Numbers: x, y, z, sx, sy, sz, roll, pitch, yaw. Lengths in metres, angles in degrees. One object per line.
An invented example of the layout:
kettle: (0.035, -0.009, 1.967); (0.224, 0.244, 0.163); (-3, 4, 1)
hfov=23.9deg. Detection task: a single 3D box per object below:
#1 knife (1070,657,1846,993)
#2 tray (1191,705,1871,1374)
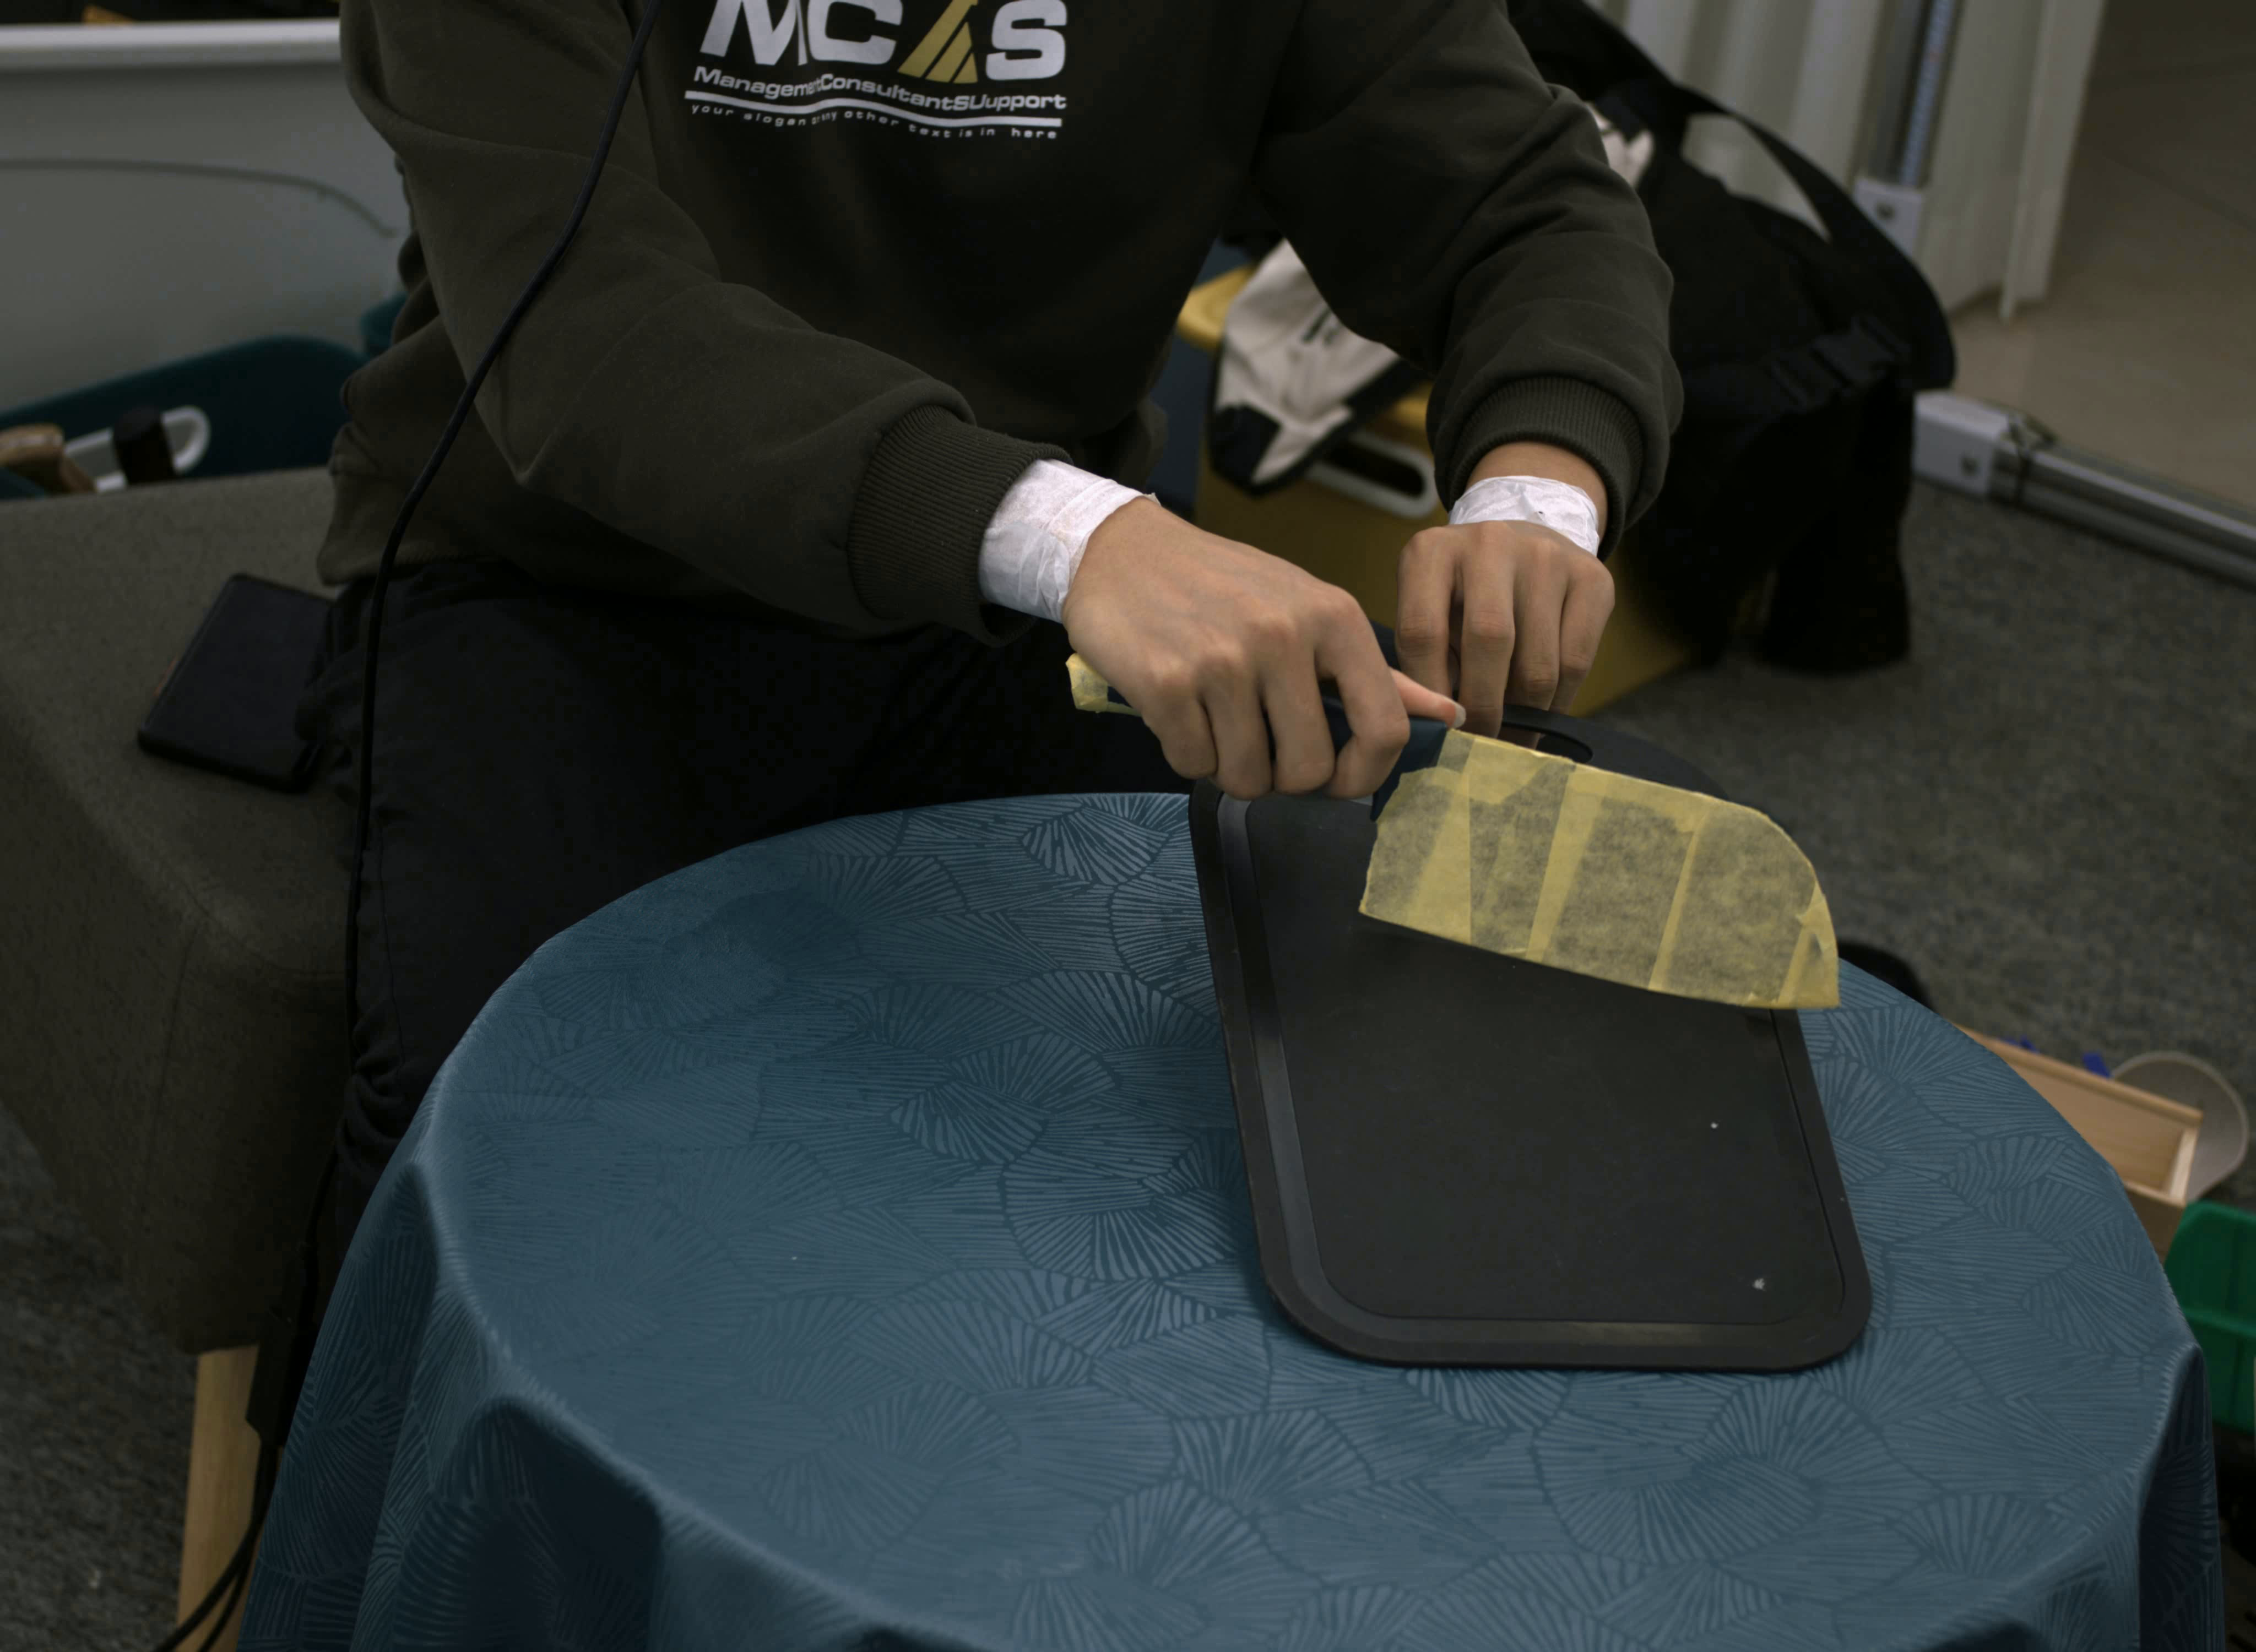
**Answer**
knife: (0.114, -0.001, 1.871); (0.289, 0.081, 0.027); (17, 7, 3)
tray: (0.134, 0.065, 1.850); (0.210, 0.010, 0.328); (2, 42, -9)
